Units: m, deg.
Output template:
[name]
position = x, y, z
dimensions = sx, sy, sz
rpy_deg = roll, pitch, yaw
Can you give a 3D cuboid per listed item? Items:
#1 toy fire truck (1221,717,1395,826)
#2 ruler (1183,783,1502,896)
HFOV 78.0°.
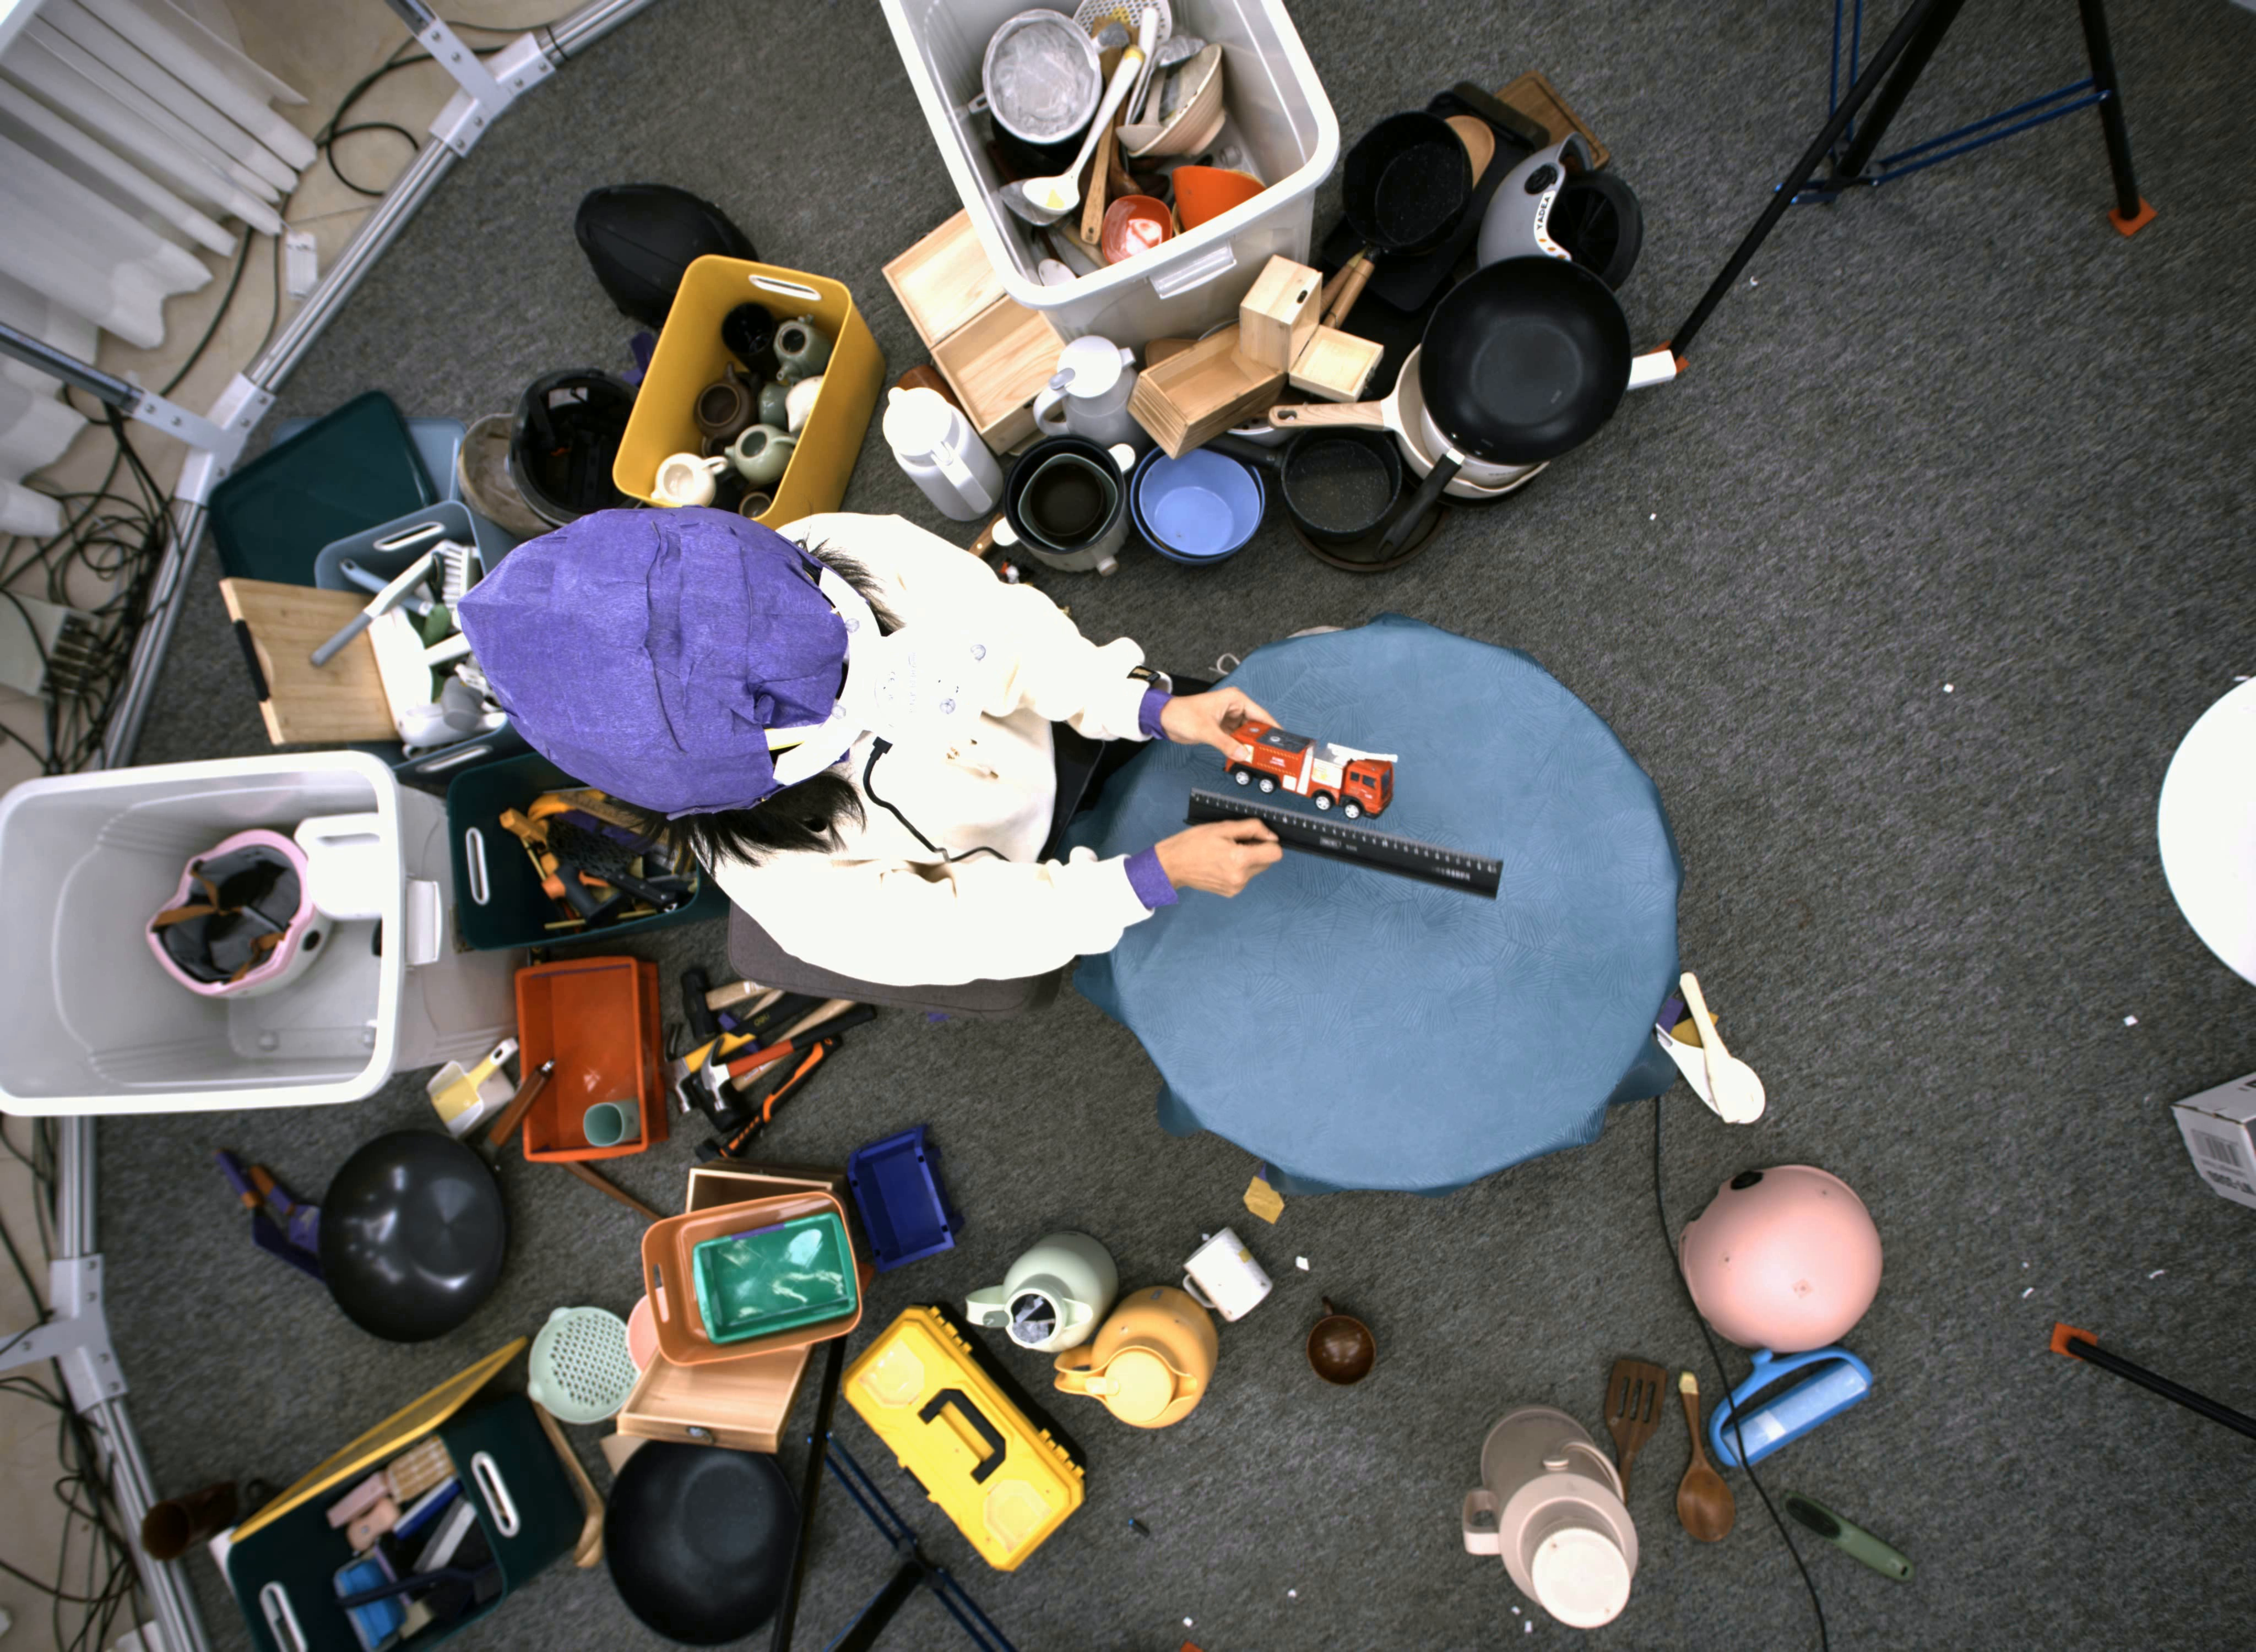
[toy fire truck]
position = 0.174, -0.056, 1.332
dimensions = 0.168, 0.053, 0.072
rpy_deg = 17, 123, 24
[ruler]
position = 0.198, 0.012, 1.315
dimensions = 0.313, 0.017, 0.040
rpy_deg = 14, 112, 21
